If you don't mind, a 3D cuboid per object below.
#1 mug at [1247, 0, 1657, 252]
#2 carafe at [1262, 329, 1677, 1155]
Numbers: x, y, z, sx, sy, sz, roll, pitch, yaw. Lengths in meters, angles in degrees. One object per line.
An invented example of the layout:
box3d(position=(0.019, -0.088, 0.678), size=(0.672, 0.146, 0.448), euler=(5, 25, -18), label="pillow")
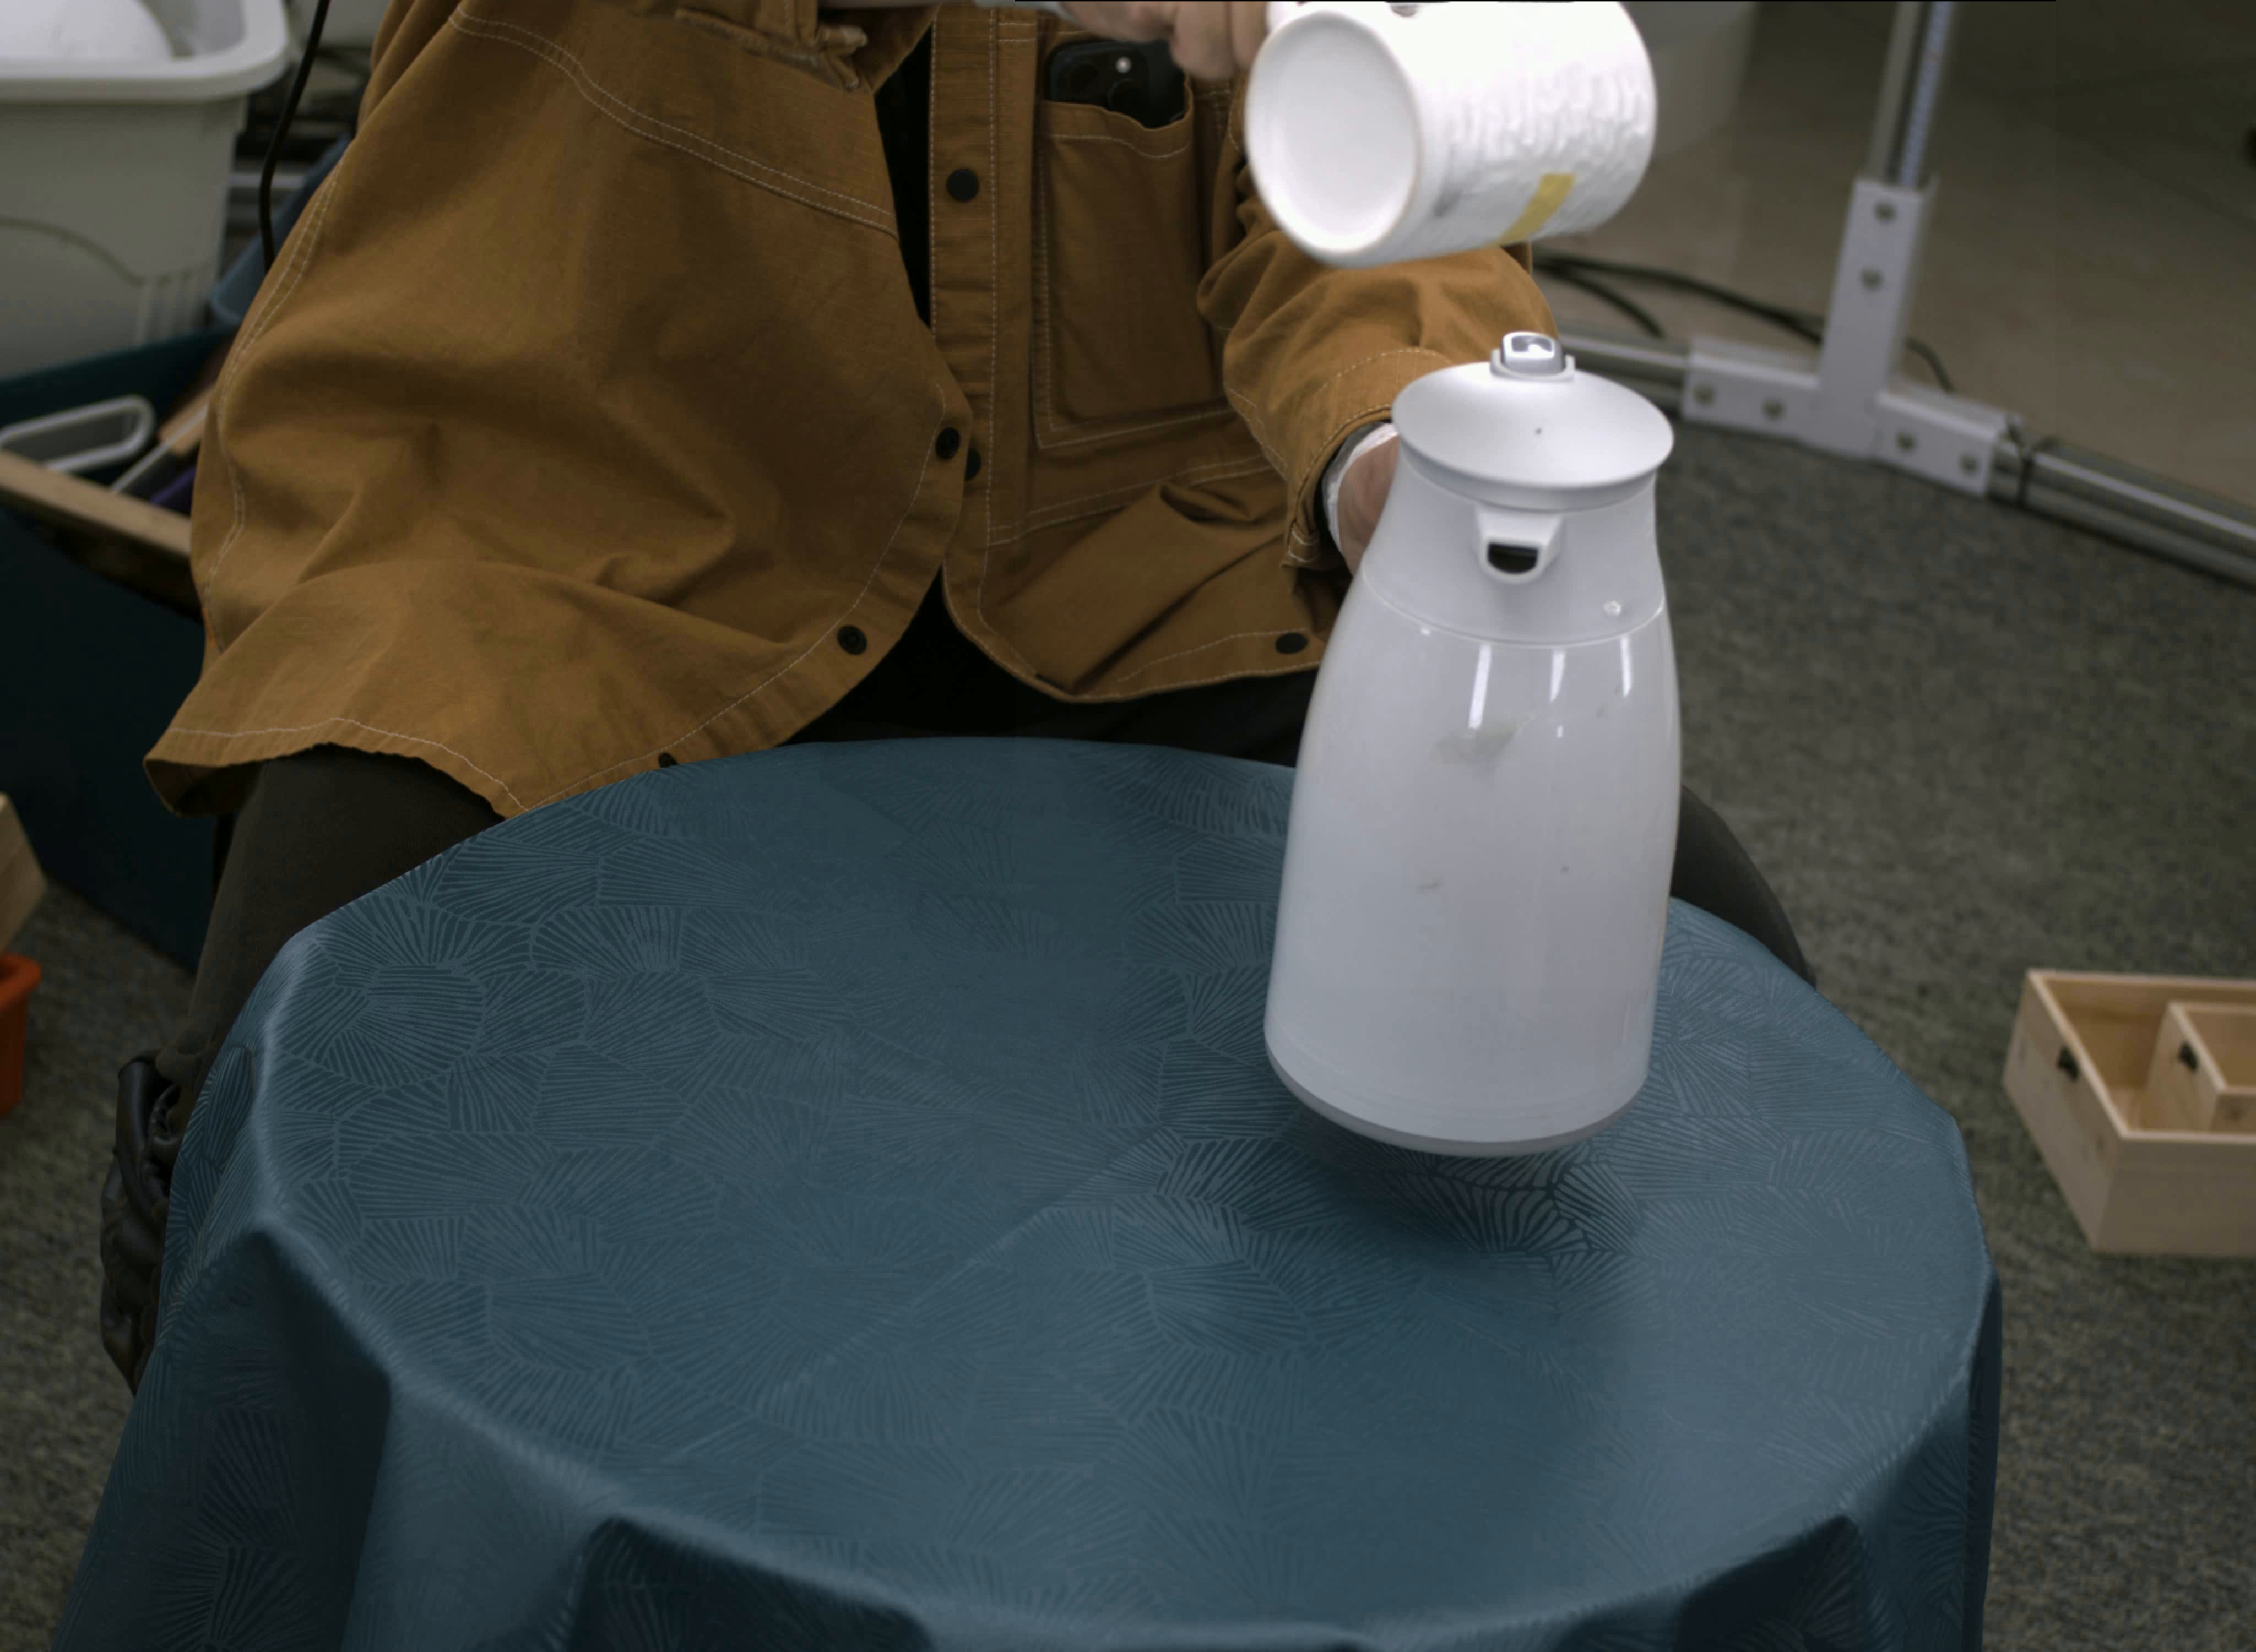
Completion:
box3d(position=(0.089, -0.233, 1.653), size=(0.101, 0.085, 0.119), euler=(-11, 49, -44), label="mug")
box3d(position=(0.120, -0.039, 1.782), size=(0.132, 0.248, 0.168), euler=(6, 28, 4), label="carafe")
